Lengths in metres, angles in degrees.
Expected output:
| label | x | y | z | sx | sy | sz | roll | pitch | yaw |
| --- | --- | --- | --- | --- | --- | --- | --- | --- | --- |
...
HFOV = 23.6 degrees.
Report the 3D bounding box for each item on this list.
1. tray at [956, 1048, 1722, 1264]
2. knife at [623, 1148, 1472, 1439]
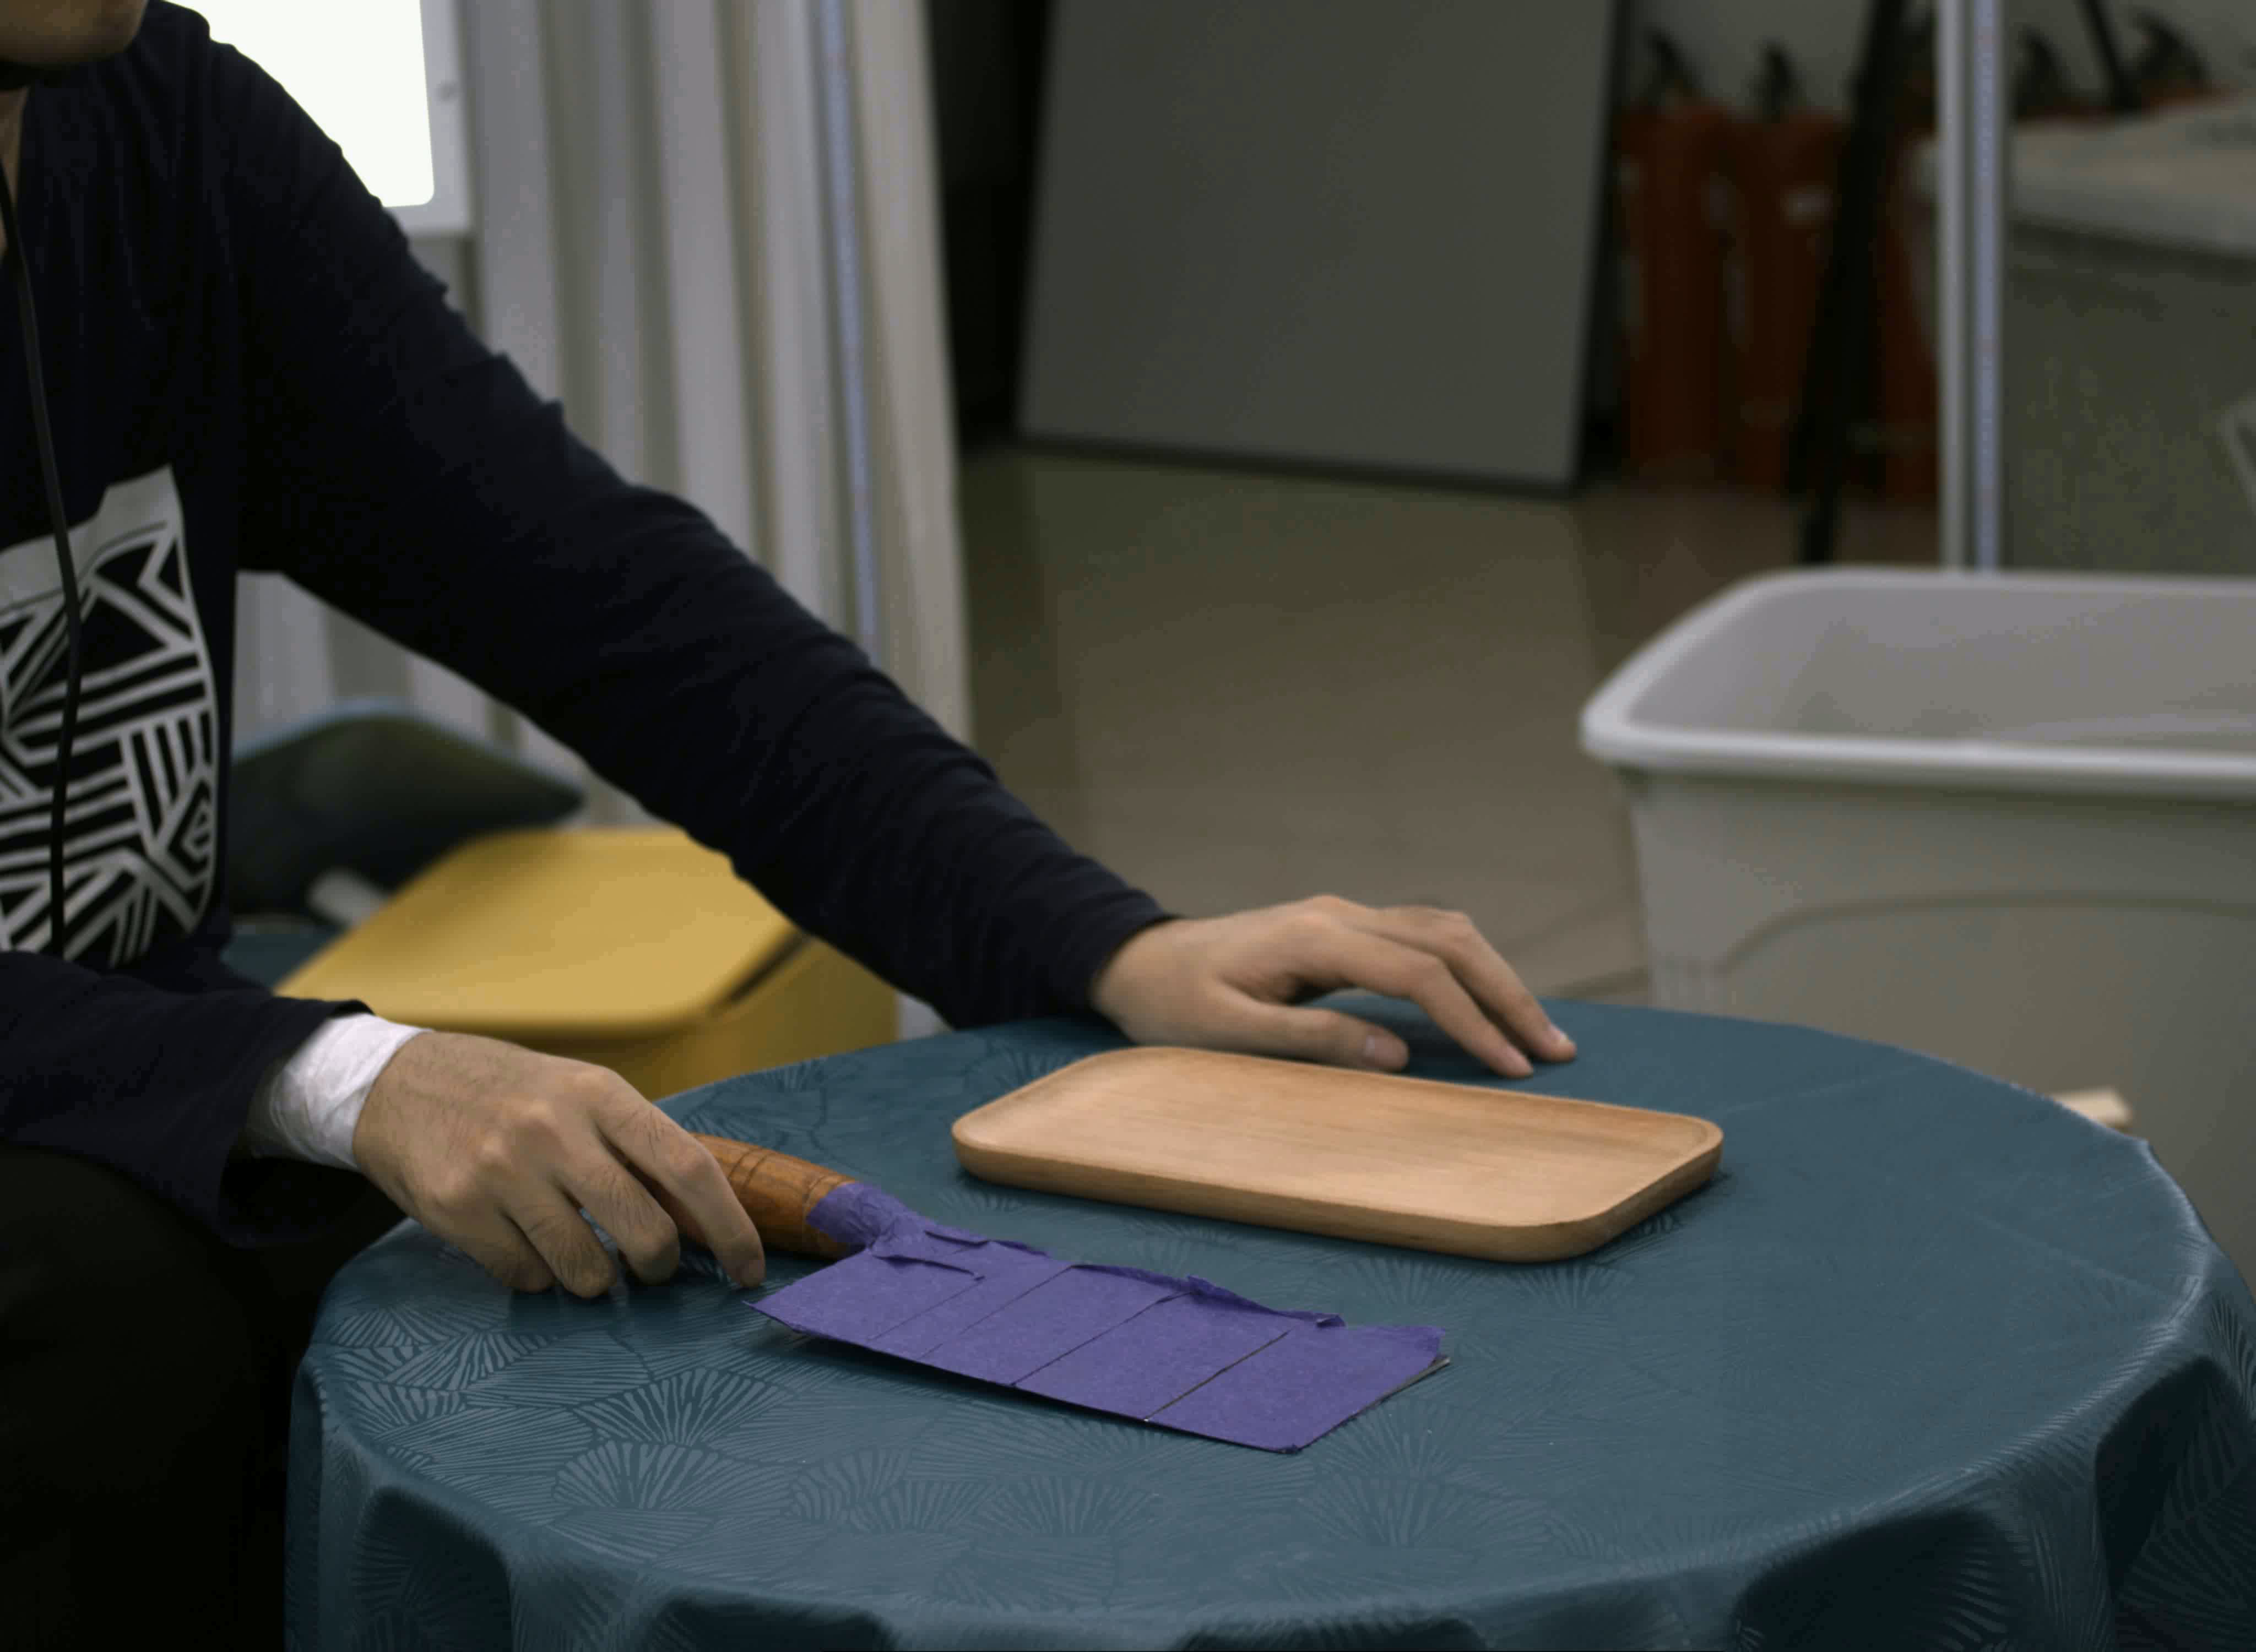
| label | x | y | z | sx | sy | sz | roll | pitch | yaw |
| --- | --- | --- | --- | --- | --- | --- | --- | --- | --- |
| tray | 0.068 | 0.108 | 1.779 | 0.252 | 0.023 | 0.128 | 5 | 14 | 38 |
| knife | -0.049 | 0.141 | 1.650 | 0.317 | 0.032 | 0.102 | 7 | 17 | 37 |
